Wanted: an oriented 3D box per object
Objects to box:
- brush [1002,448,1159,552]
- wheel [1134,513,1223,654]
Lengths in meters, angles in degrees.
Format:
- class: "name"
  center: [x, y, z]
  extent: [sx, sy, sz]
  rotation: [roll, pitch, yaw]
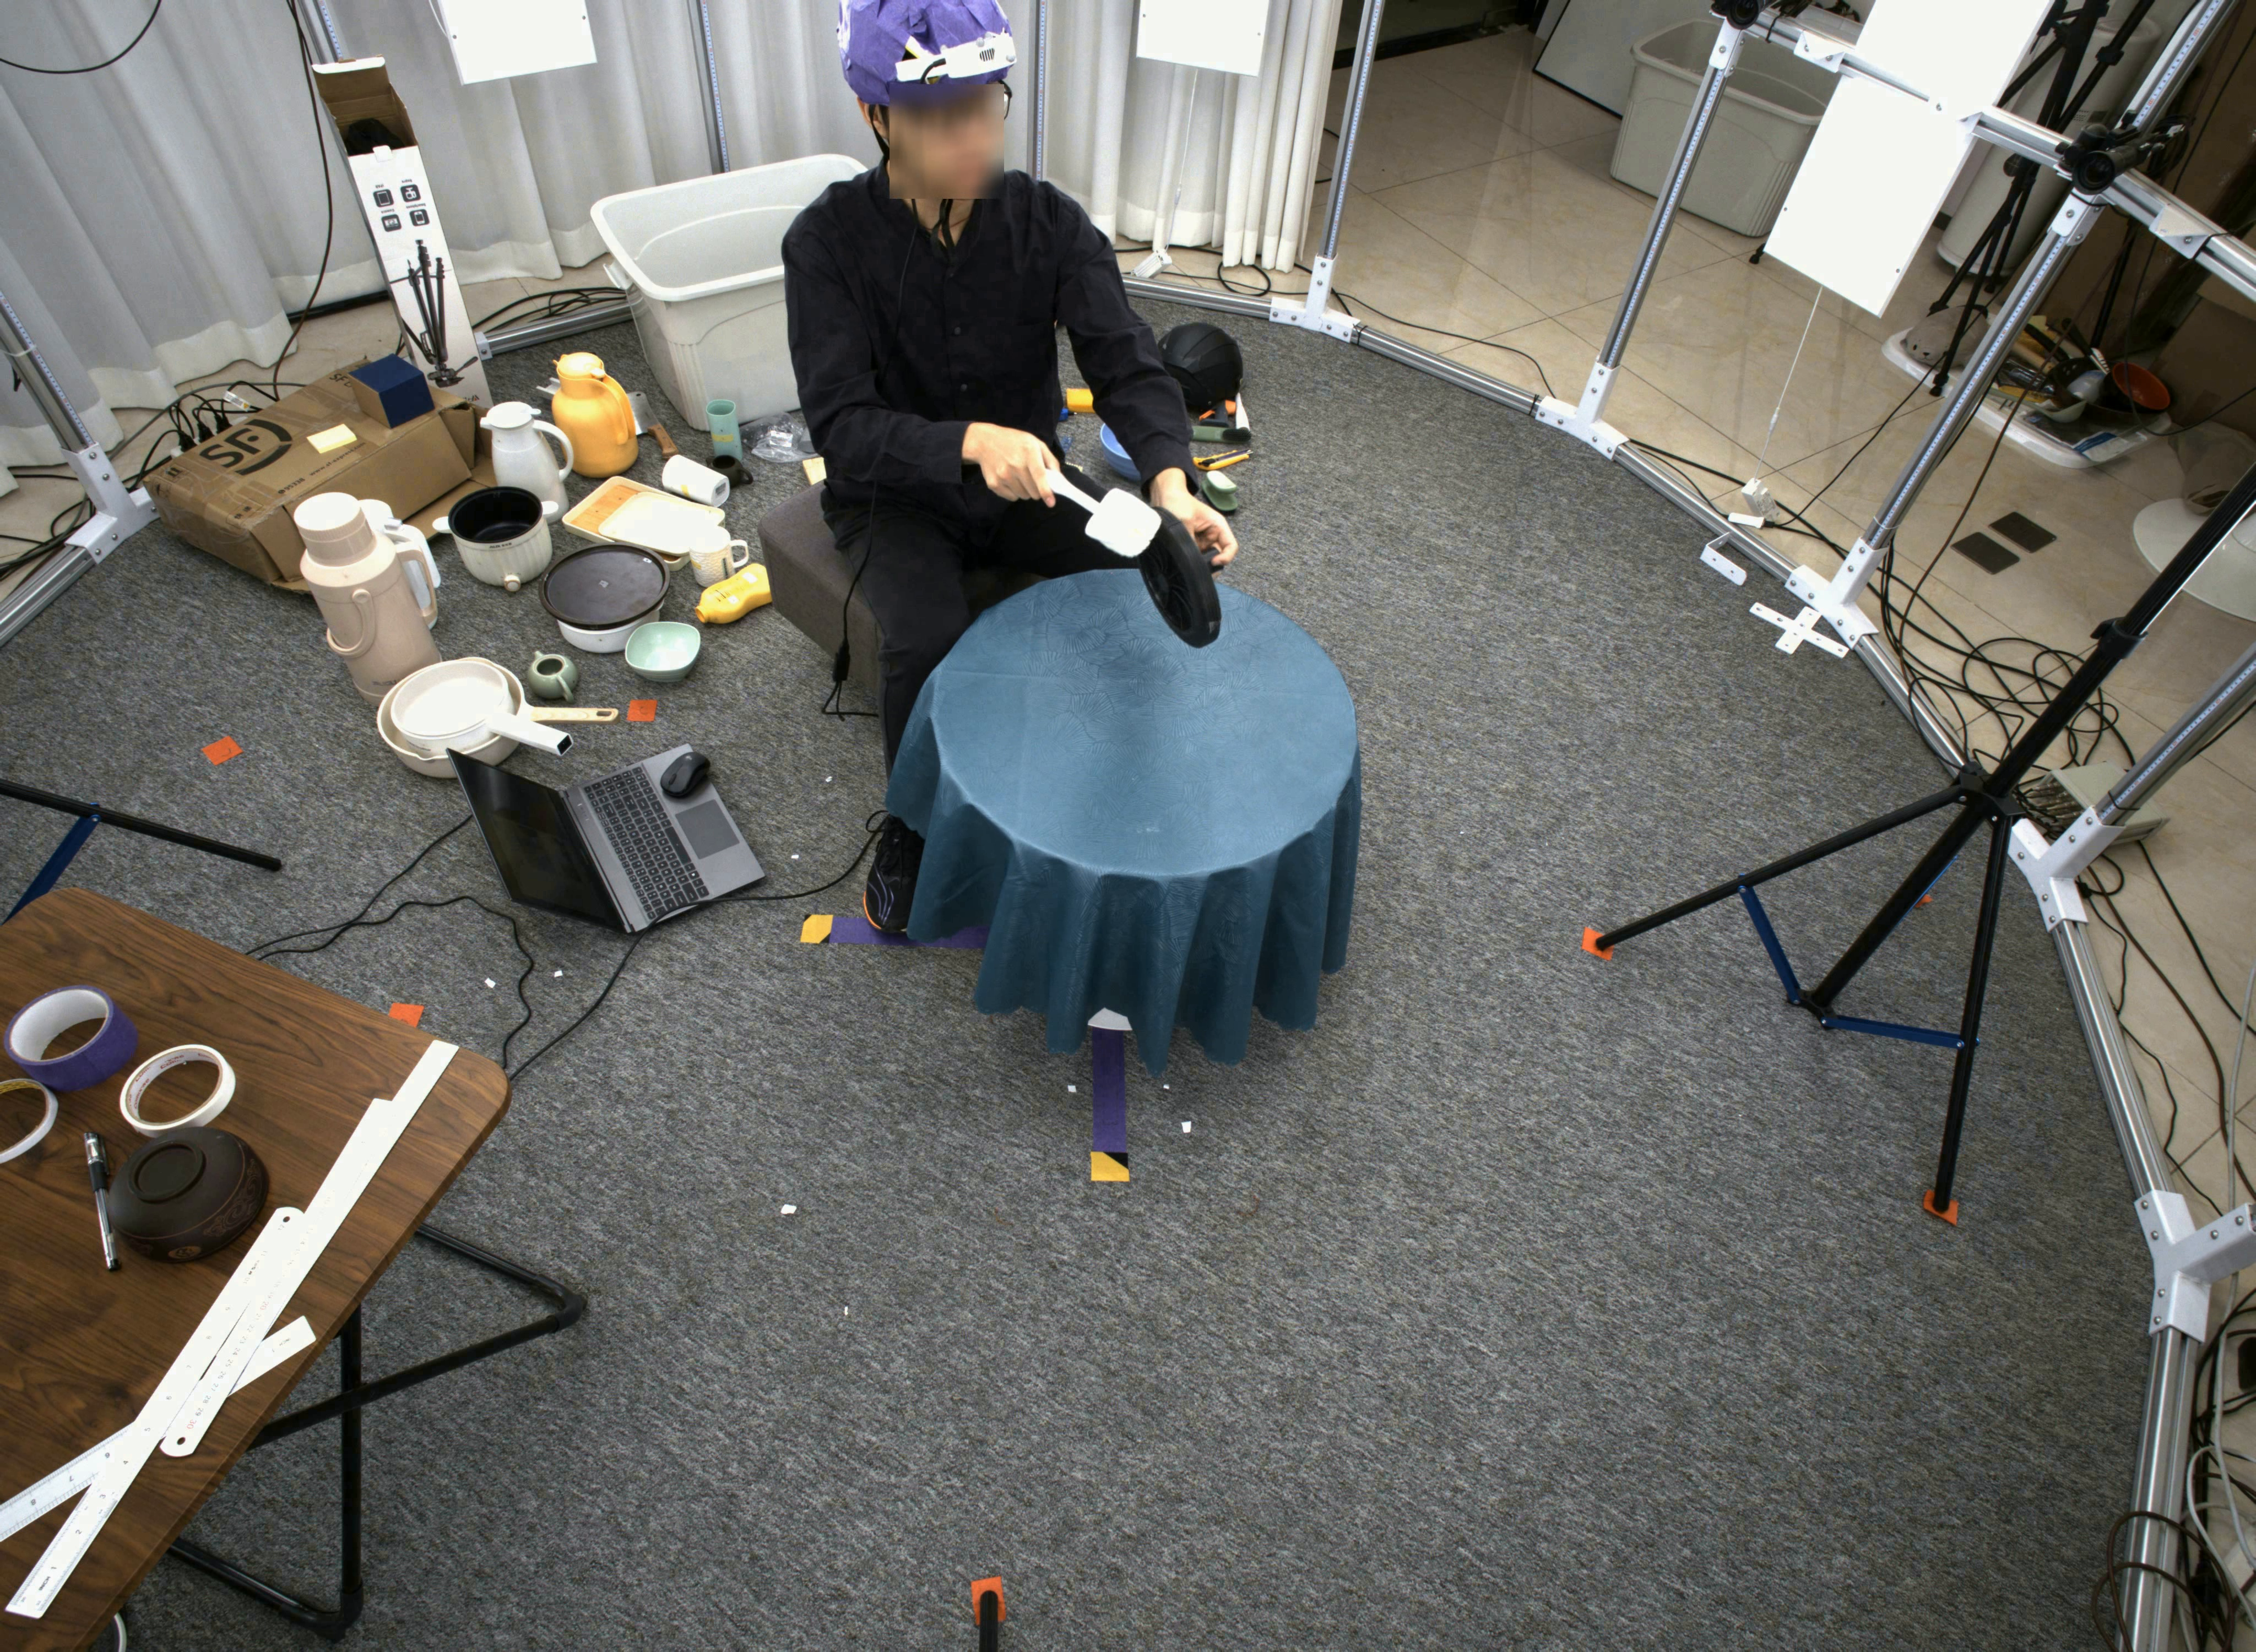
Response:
- class: "brush"
  center: [-0.053, -0.424, 1.656]
  extent: [0.083, 0.082, 0.331]
  rotation: [-31, 40, -17]
- class: "wheel"
  center: [0.080, -0.319, 1.648]
  extent: [0.079, 0.187, 0.190]
  rotation: [-28, 90, -14]
